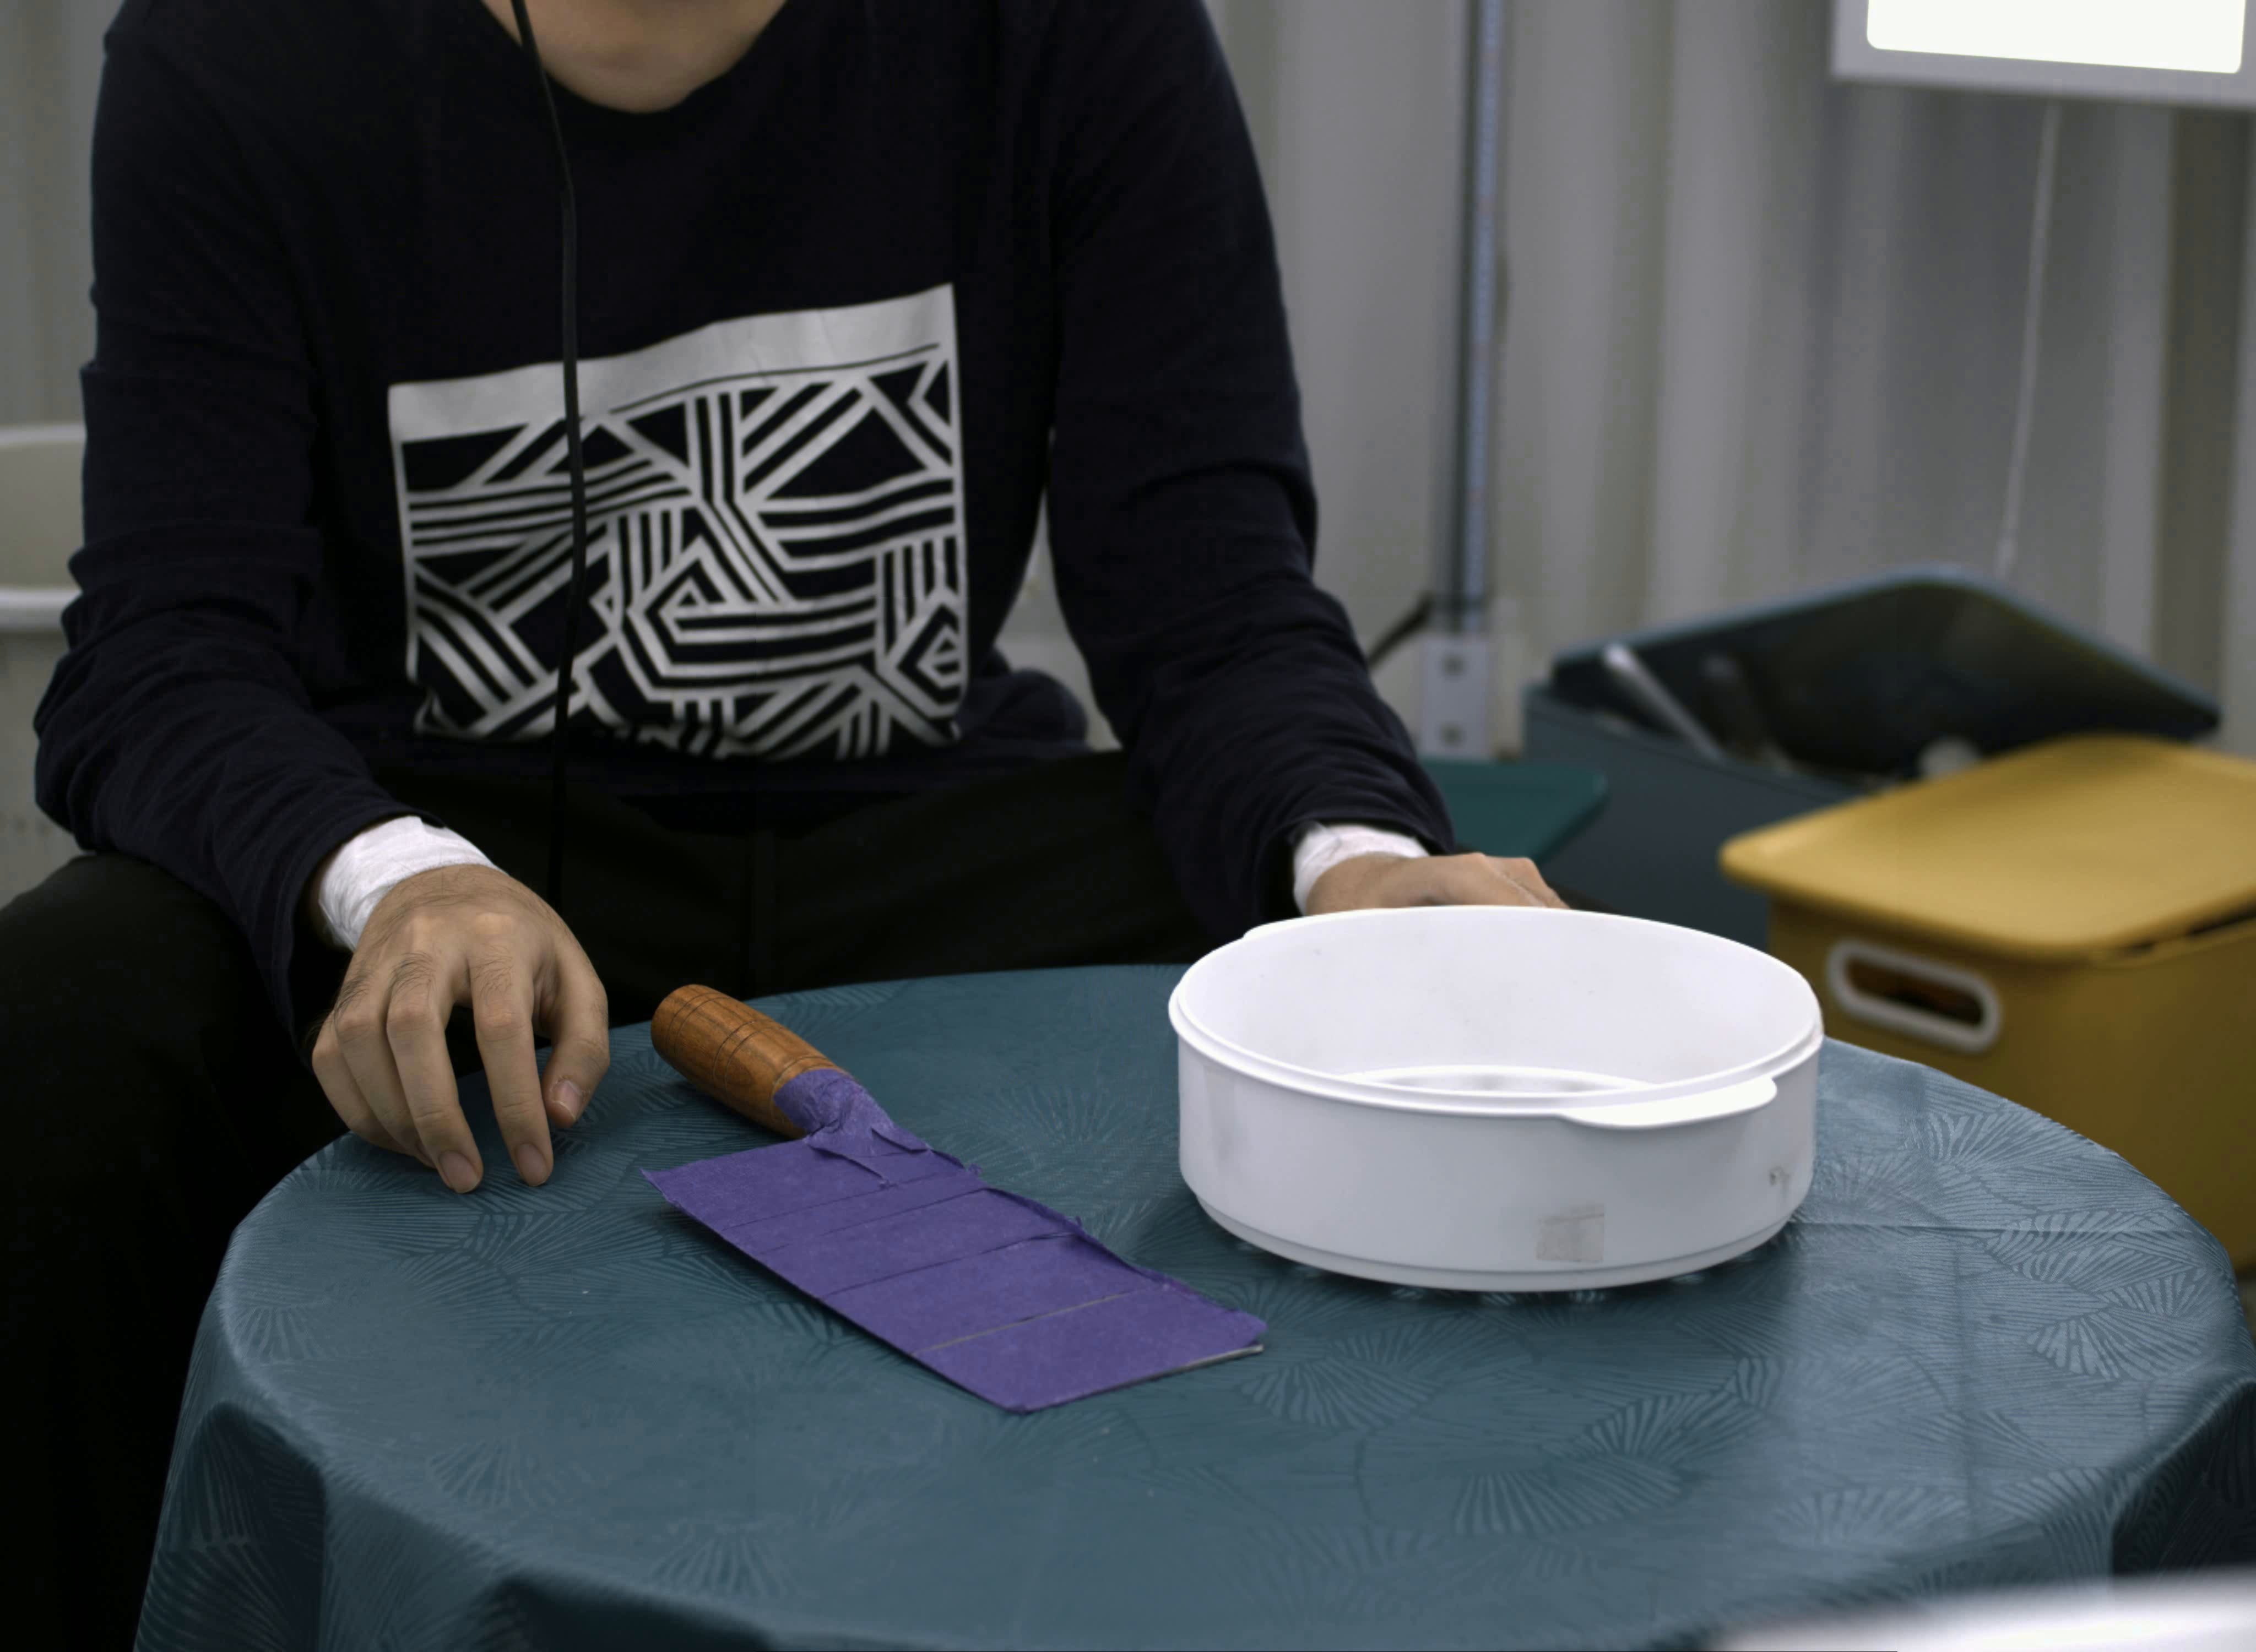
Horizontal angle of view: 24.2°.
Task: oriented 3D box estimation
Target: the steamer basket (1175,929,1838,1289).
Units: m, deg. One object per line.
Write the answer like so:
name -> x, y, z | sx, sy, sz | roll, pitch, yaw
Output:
steamer basket -> 0.115, 0.085, 1.604 | 0.203, 0.070, 0.228 | -6, 14, -27

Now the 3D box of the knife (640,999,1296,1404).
knife -> -0.082, 0.109, 1.583 | 0.104, 0.032, 0.311 | -10, 19, -34
